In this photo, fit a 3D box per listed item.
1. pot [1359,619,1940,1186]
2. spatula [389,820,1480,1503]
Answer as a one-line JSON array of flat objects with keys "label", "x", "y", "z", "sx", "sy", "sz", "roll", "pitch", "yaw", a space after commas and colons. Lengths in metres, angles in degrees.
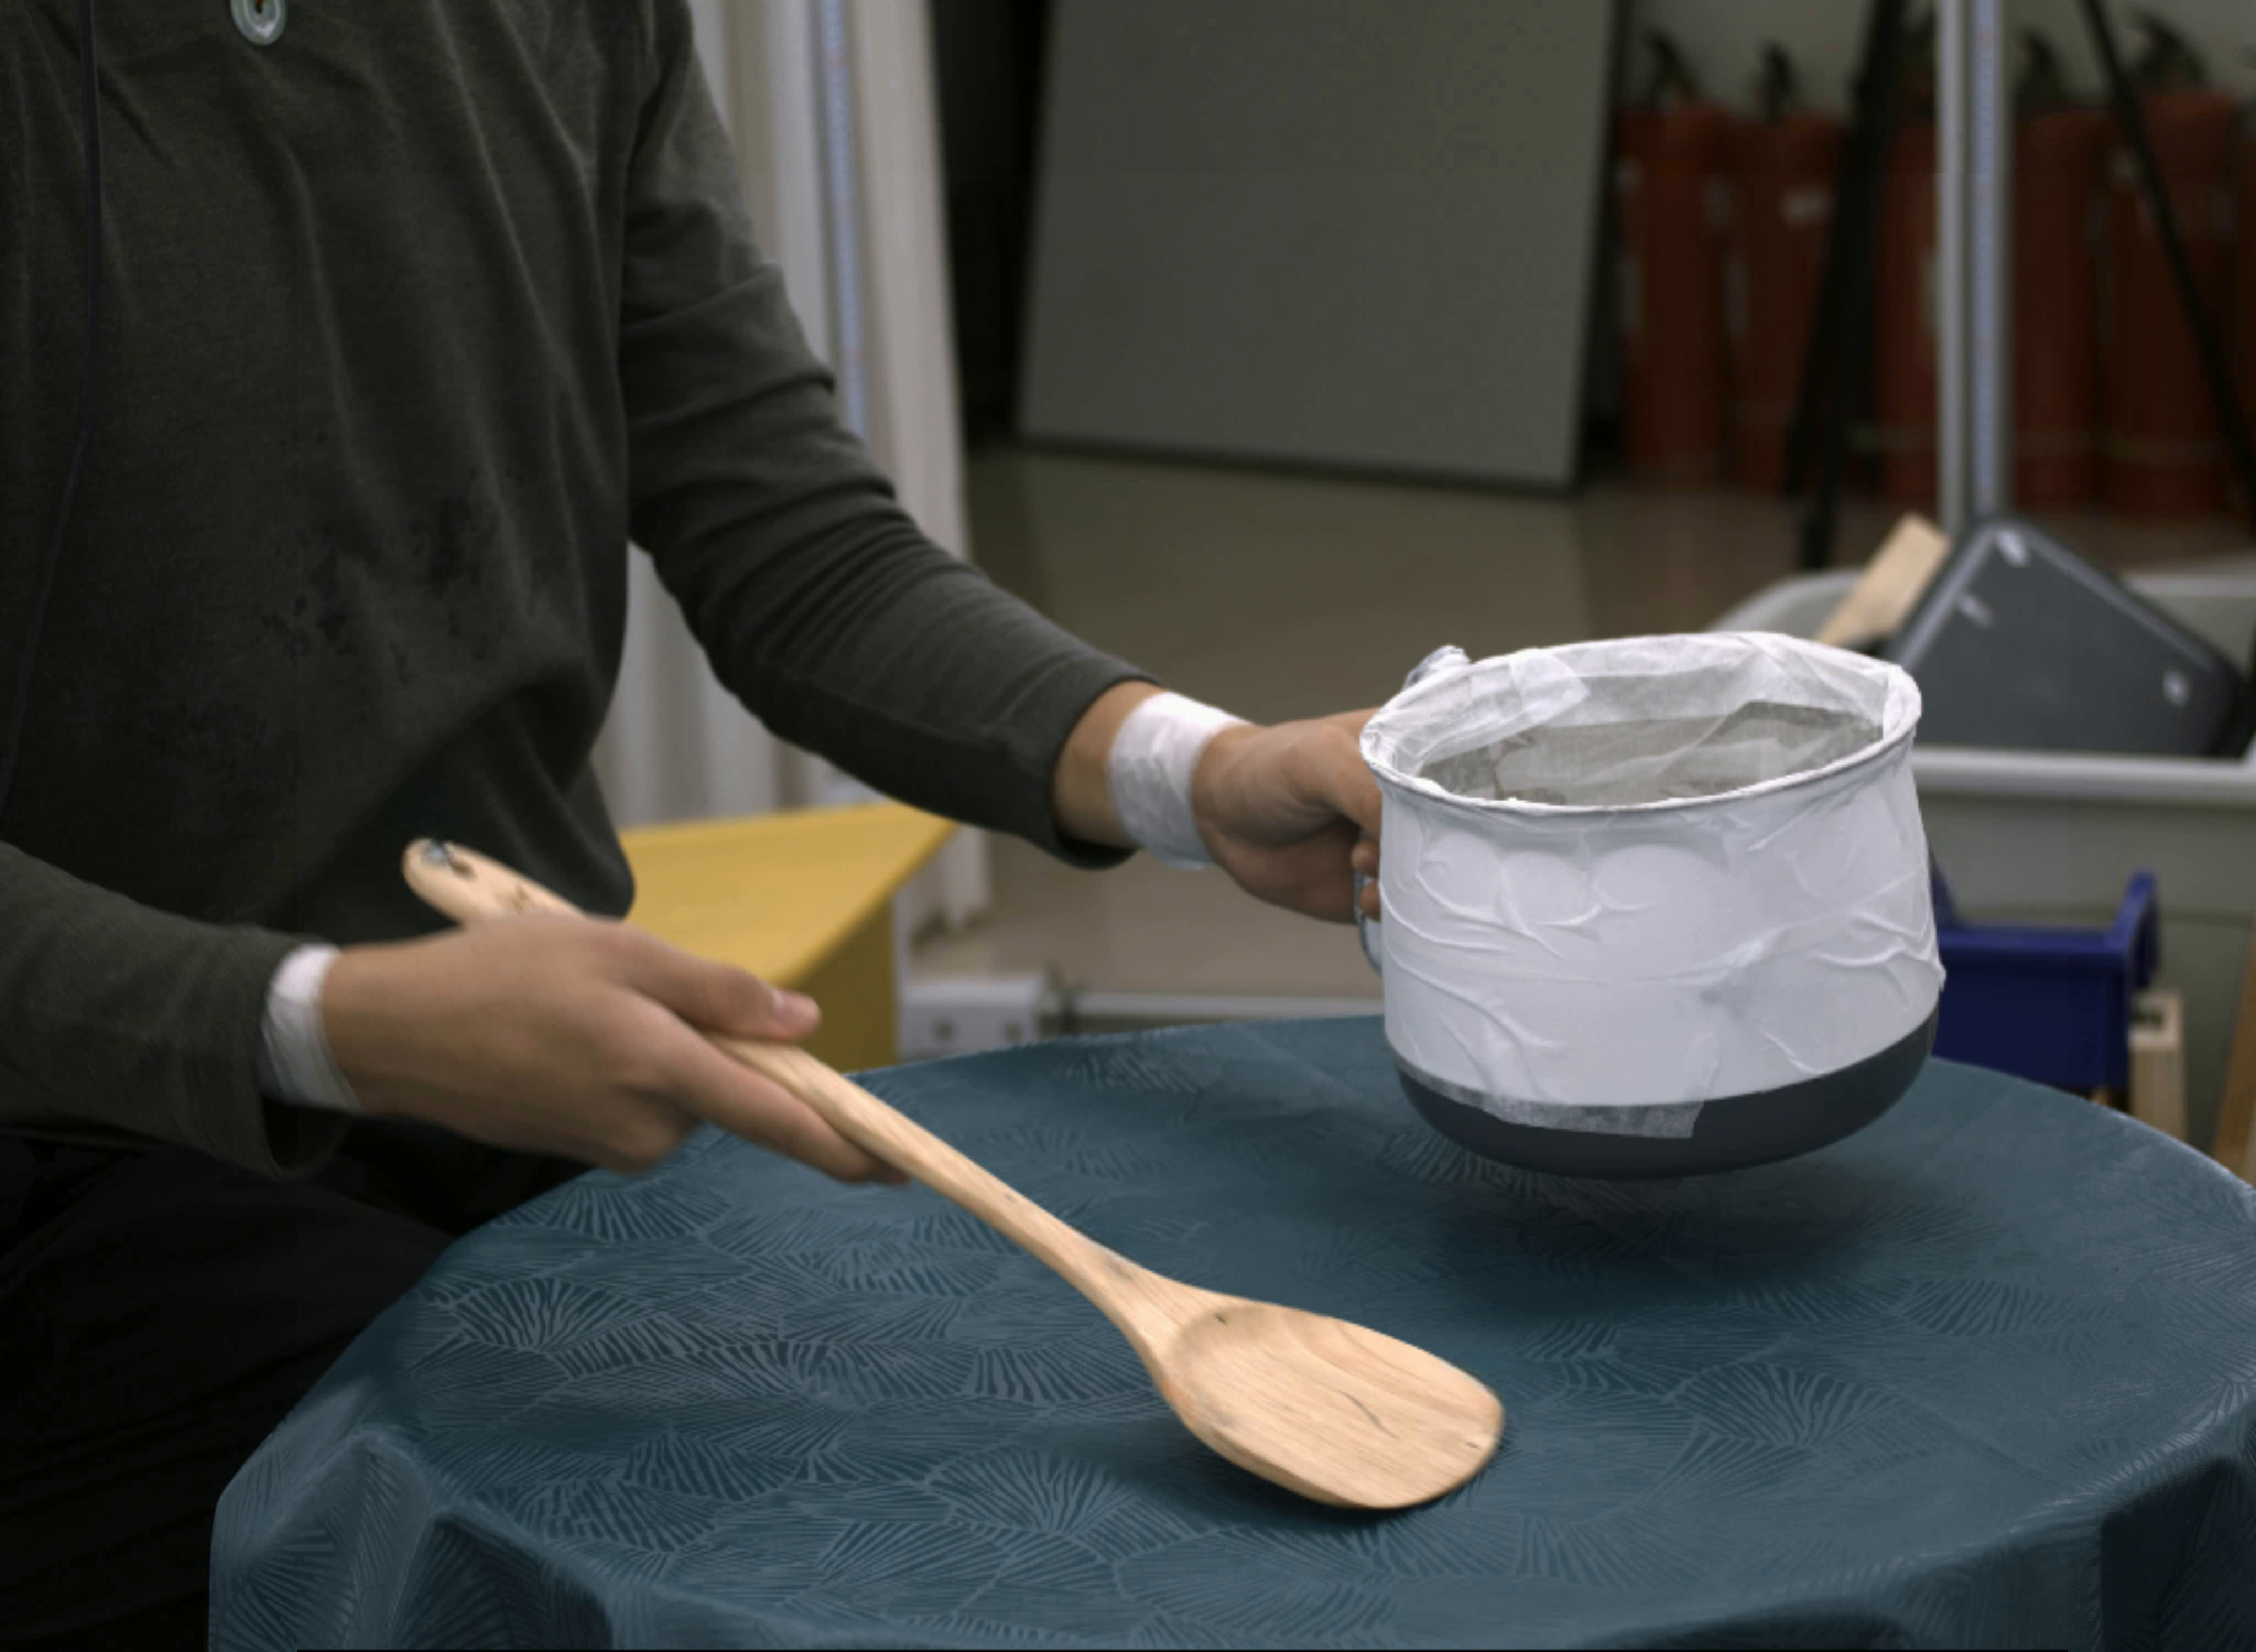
[{"label": "pot", "x": 0.150, "y": 0.018, "z": 1.714, "sx": 0.175, "sy": 0.138, "sz": 0.236, "roll": -17, "pitch": 20, "yaw": -31}, {"label": "spatula", "x": -0.068, "y": 0.092, "z": 1.572, "sx": 0.392, "sy": 0.018, "sz": 0.094, "roll": 31, "pitch": 27, "yaw": 22}]
